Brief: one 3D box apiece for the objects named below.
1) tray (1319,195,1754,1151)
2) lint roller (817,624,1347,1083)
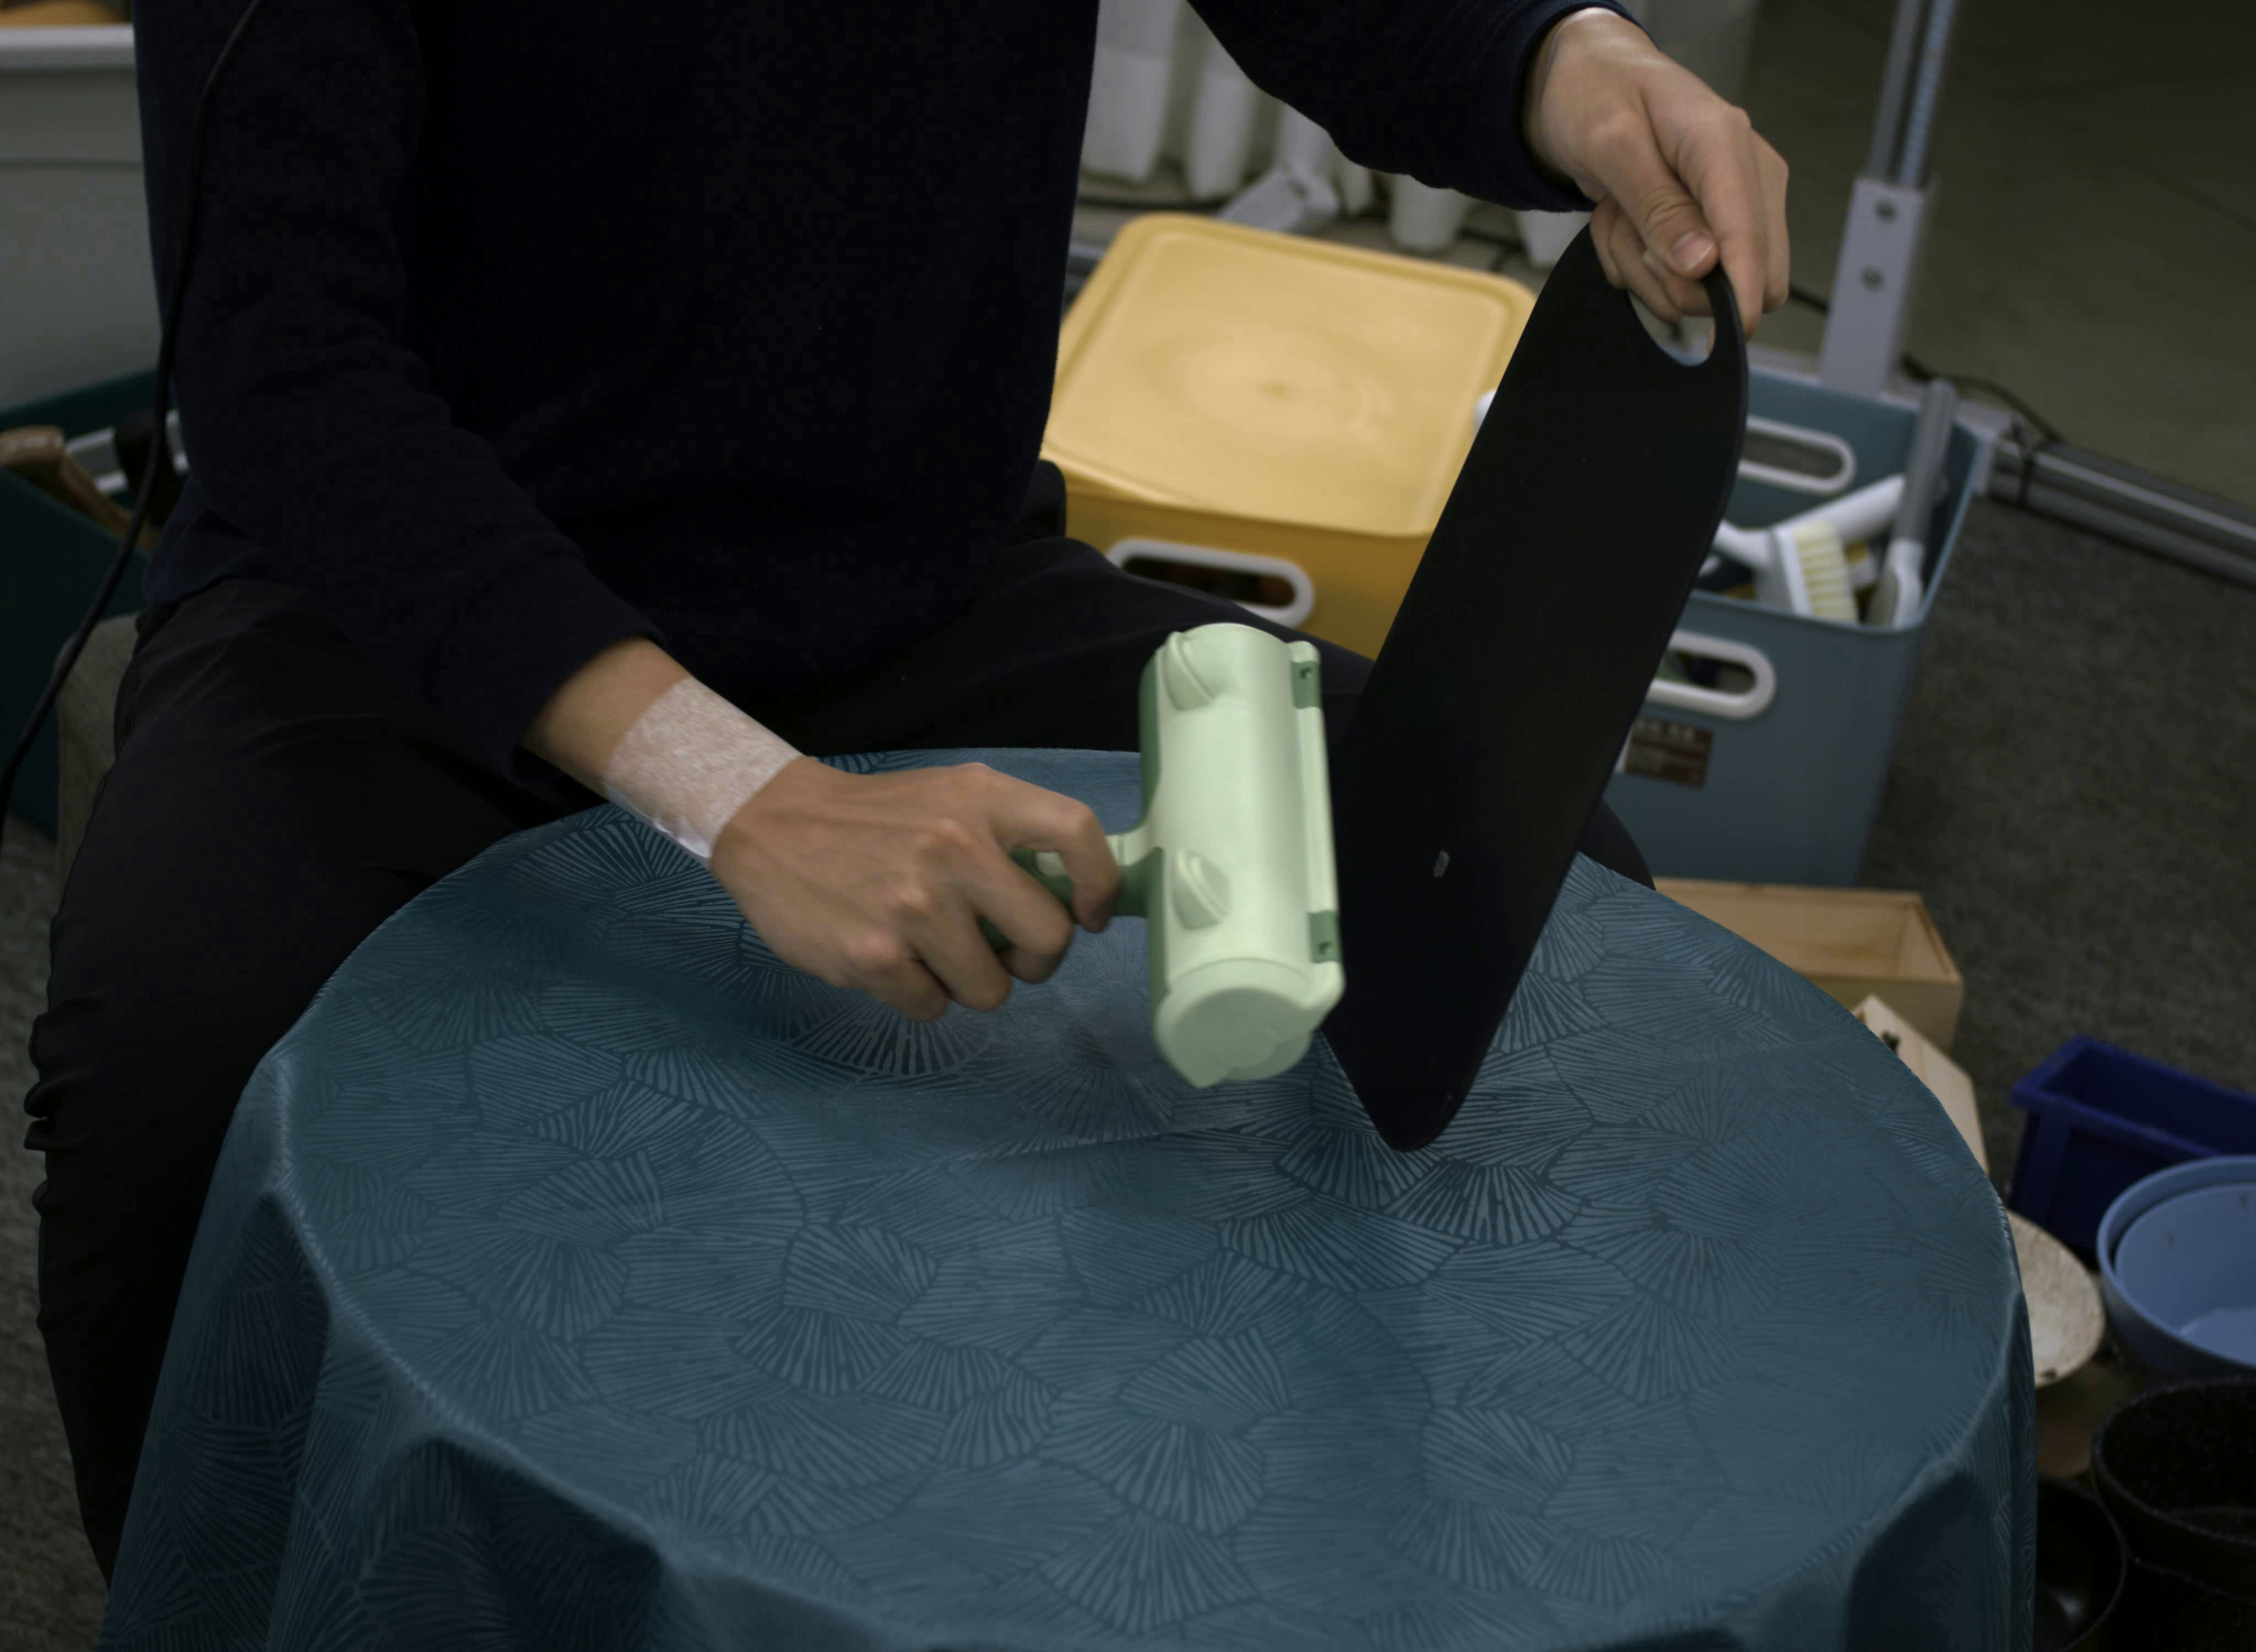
[{"bbox_3d":[0.134,-0.059,1.841,0.010,0.325,0.213,15,20,-21],"label":"tray"},{"bbox_3d":[-0.021,0.006,1.834,0.183,0.081,0.200,-5,39,2],"label":"lint roller"}]
